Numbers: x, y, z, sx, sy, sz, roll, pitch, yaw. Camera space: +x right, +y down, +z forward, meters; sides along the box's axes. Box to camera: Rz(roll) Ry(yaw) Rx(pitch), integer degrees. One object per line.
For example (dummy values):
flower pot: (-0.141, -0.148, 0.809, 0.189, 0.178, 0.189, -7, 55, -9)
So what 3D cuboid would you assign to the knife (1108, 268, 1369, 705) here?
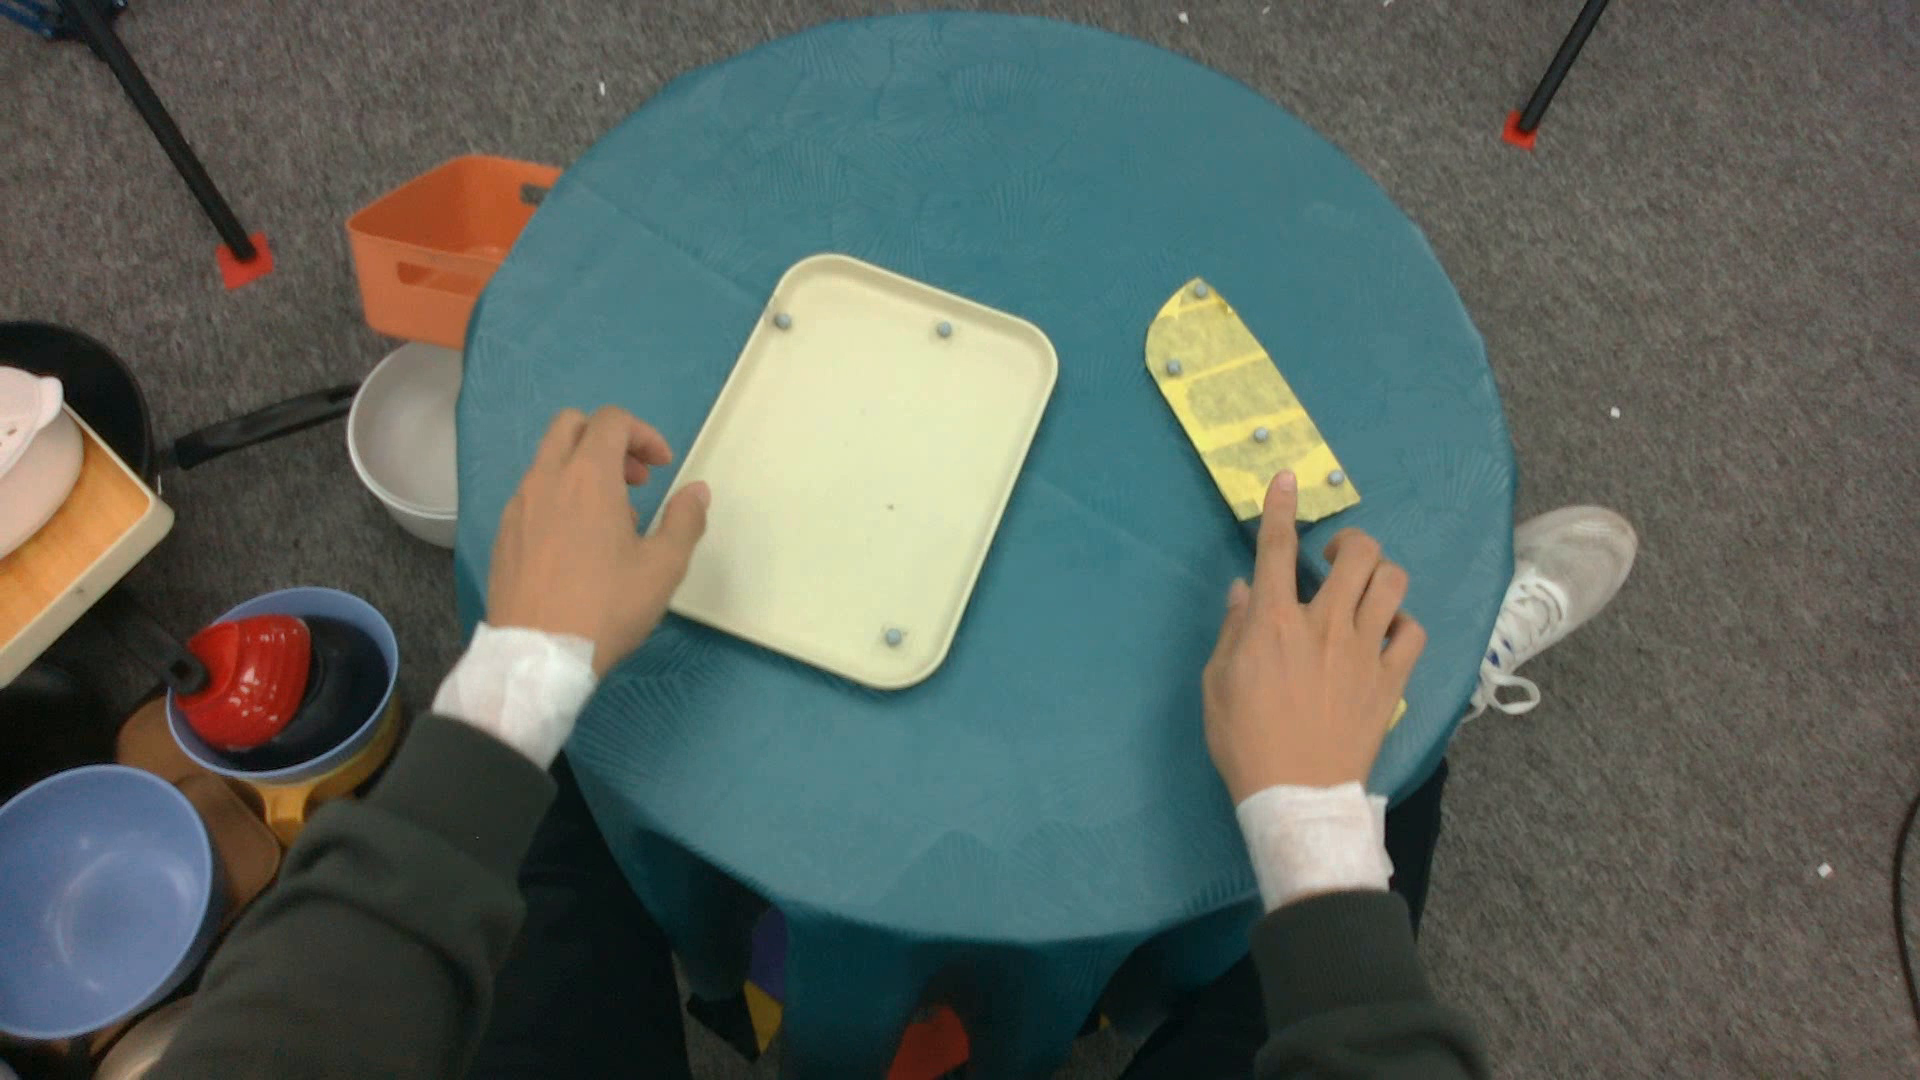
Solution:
knife: (0.162, -0.041, 0.776, 0.081, 0.027, 0.290, -17, 67, -14)

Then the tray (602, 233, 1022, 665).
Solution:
tray: (-0.075, -0.055, 0.752, 0.171, 0.017, 0.240, 21, 64, 3)
